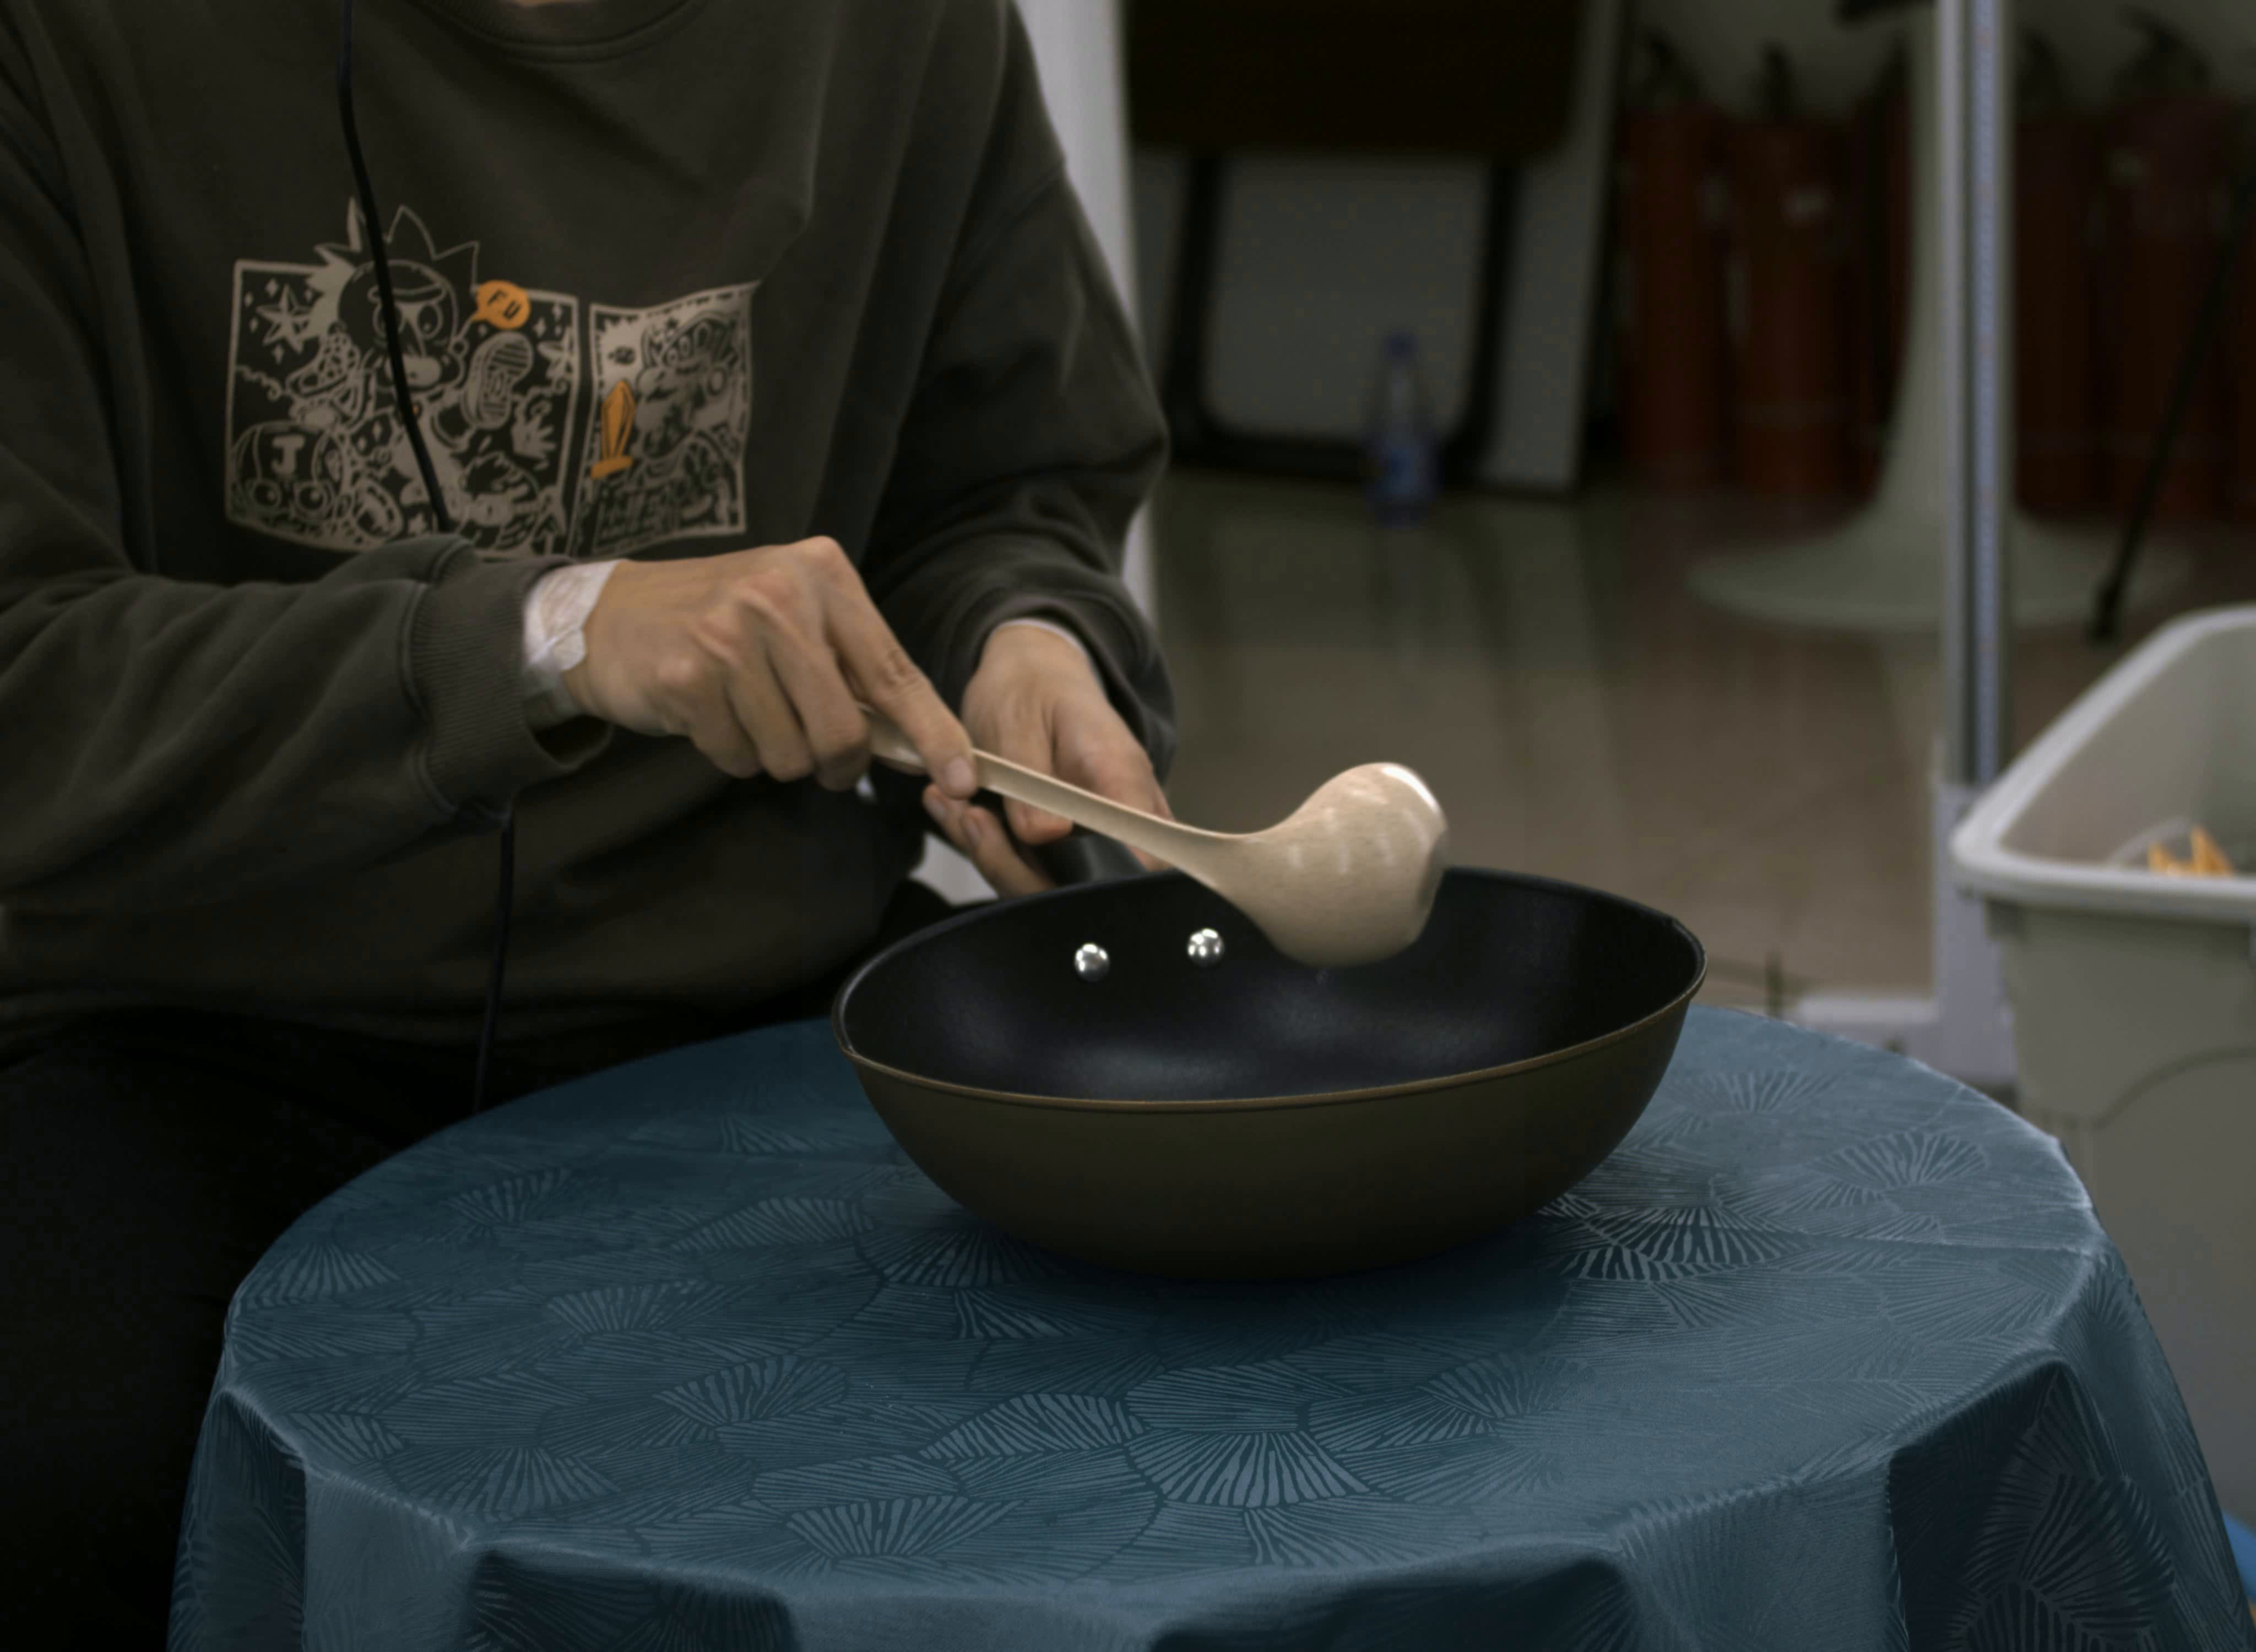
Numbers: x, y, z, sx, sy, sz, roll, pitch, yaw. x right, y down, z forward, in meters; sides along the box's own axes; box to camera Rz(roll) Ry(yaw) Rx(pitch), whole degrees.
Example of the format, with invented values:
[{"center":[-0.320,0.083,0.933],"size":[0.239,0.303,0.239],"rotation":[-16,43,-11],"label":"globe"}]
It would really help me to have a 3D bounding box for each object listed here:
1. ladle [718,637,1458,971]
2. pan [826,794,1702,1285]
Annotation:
[{"center":[-0.010,-0.025,1.790],"size":[0.254,0.073,0.072],"rotation":[24,36,18],"label":"ladle"},{"center":[0.018,0.068,1.816],"size":[0.282,0.088,0.467],"rotation":[-8,13,-16],"label":"pan"}]
